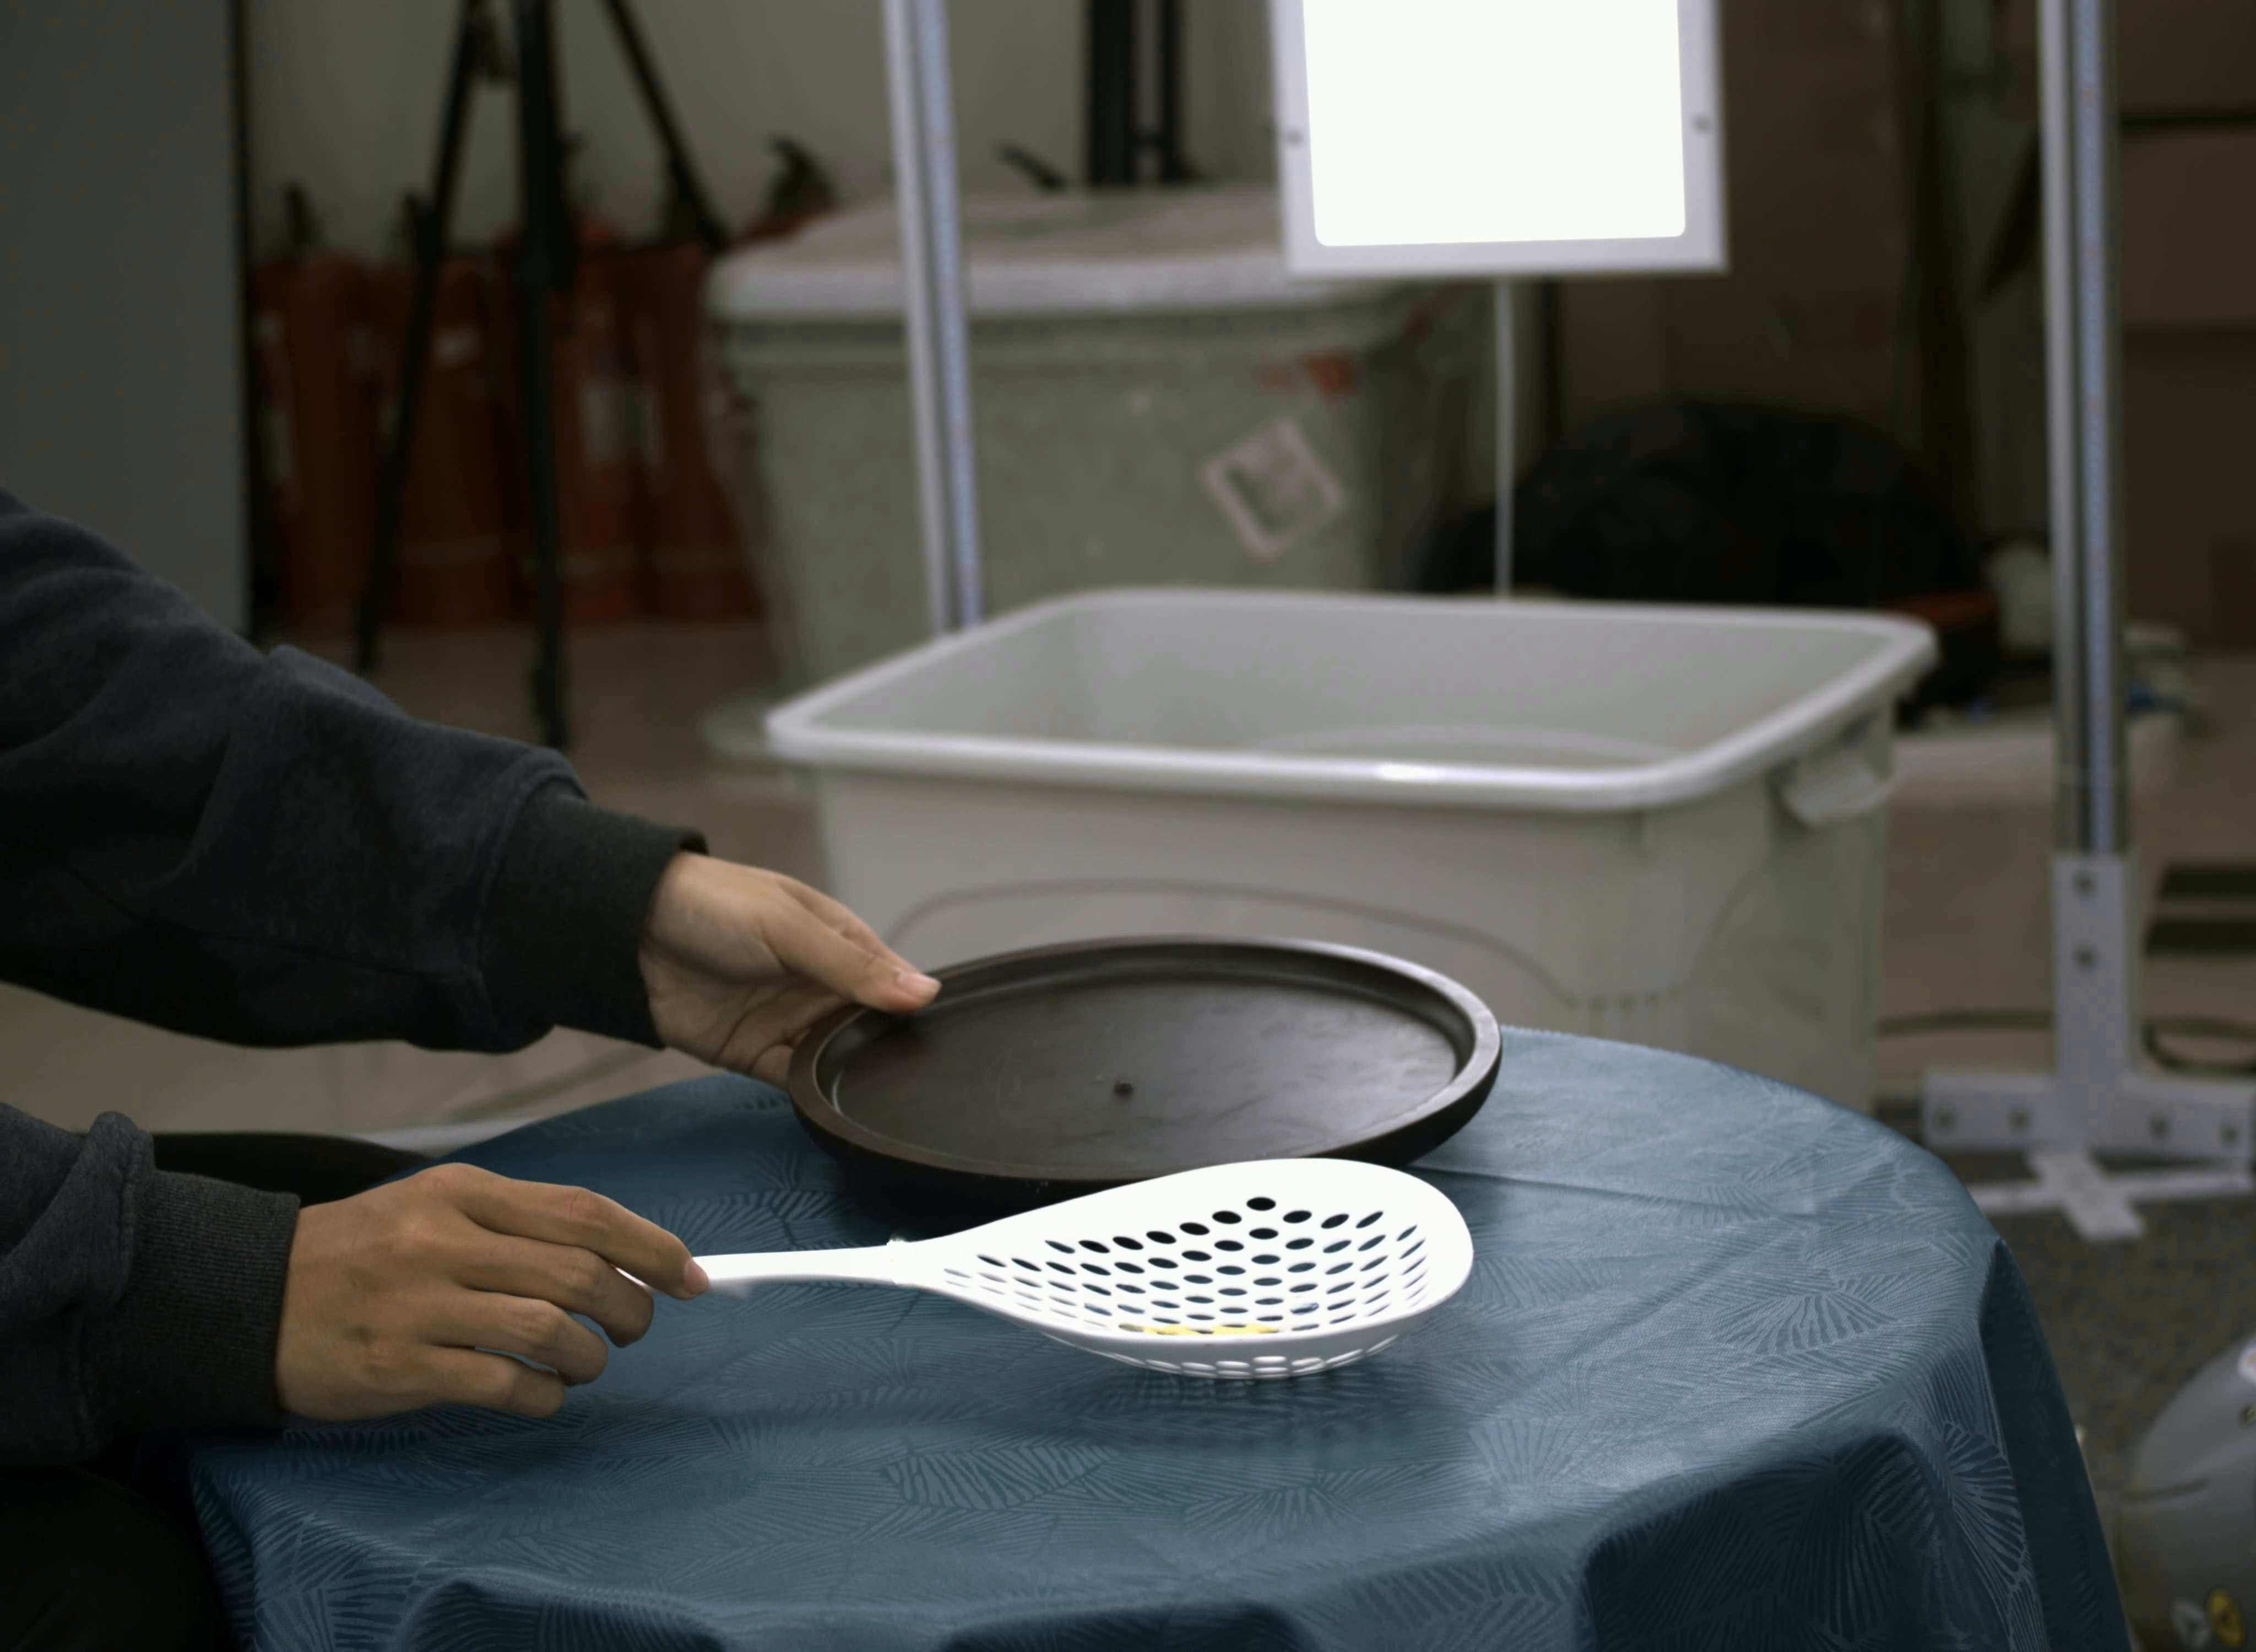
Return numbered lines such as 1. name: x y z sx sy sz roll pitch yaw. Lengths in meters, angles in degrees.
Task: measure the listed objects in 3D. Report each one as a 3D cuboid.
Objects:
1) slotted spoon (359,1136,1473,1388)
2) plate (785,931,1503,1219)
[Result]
1. slotted spoon: -0.066 0.147 1.717 0.347 0.050 0.136 -1 22 1
2. plate: 0.006 0.087 1.933 0.254 0.029 0.254 -5 18 0
